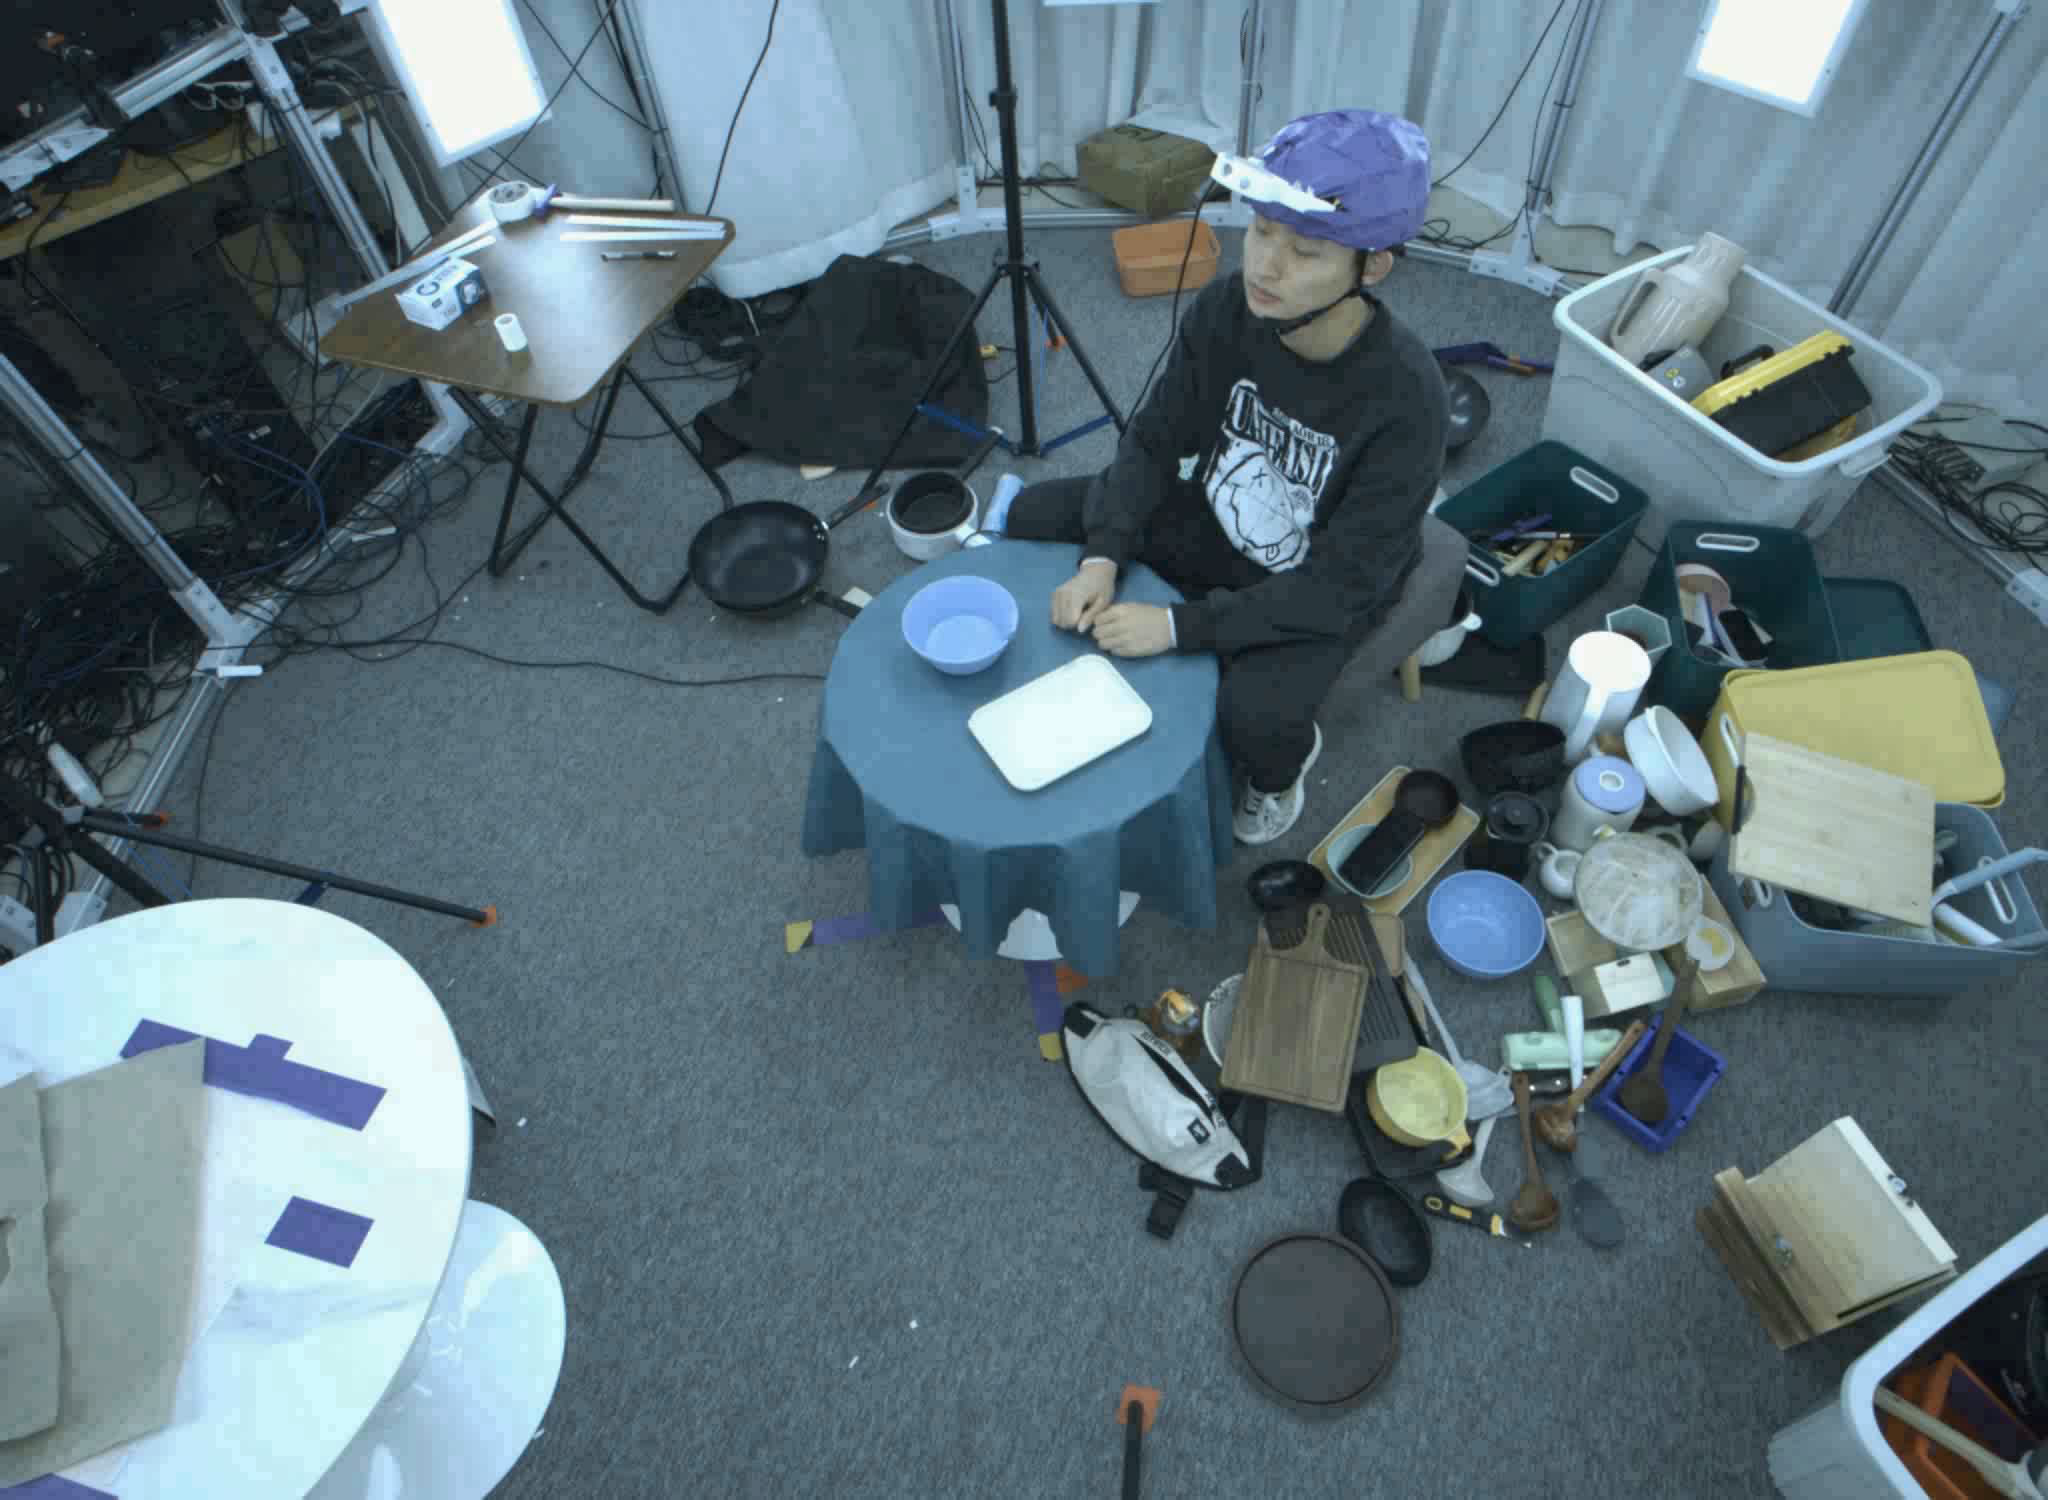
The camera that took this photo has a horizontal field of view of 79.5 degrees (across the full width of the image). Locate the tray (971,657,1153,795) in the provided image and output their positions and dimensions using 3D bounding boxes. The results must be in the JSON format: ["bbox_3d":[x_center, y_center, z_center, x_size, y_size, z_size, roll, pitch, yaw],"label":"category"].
[{"bbox_3d":[0.056,-0.037,1.811,0.241,0.017,0.168,-28,59,-17],"label":"tray"}]

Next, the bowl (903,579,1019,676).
[{"bbox_3d":[-0.095,-0.178,1.882,0.176,0.071,0.174,0,55,1],"label":"bowl"}]
